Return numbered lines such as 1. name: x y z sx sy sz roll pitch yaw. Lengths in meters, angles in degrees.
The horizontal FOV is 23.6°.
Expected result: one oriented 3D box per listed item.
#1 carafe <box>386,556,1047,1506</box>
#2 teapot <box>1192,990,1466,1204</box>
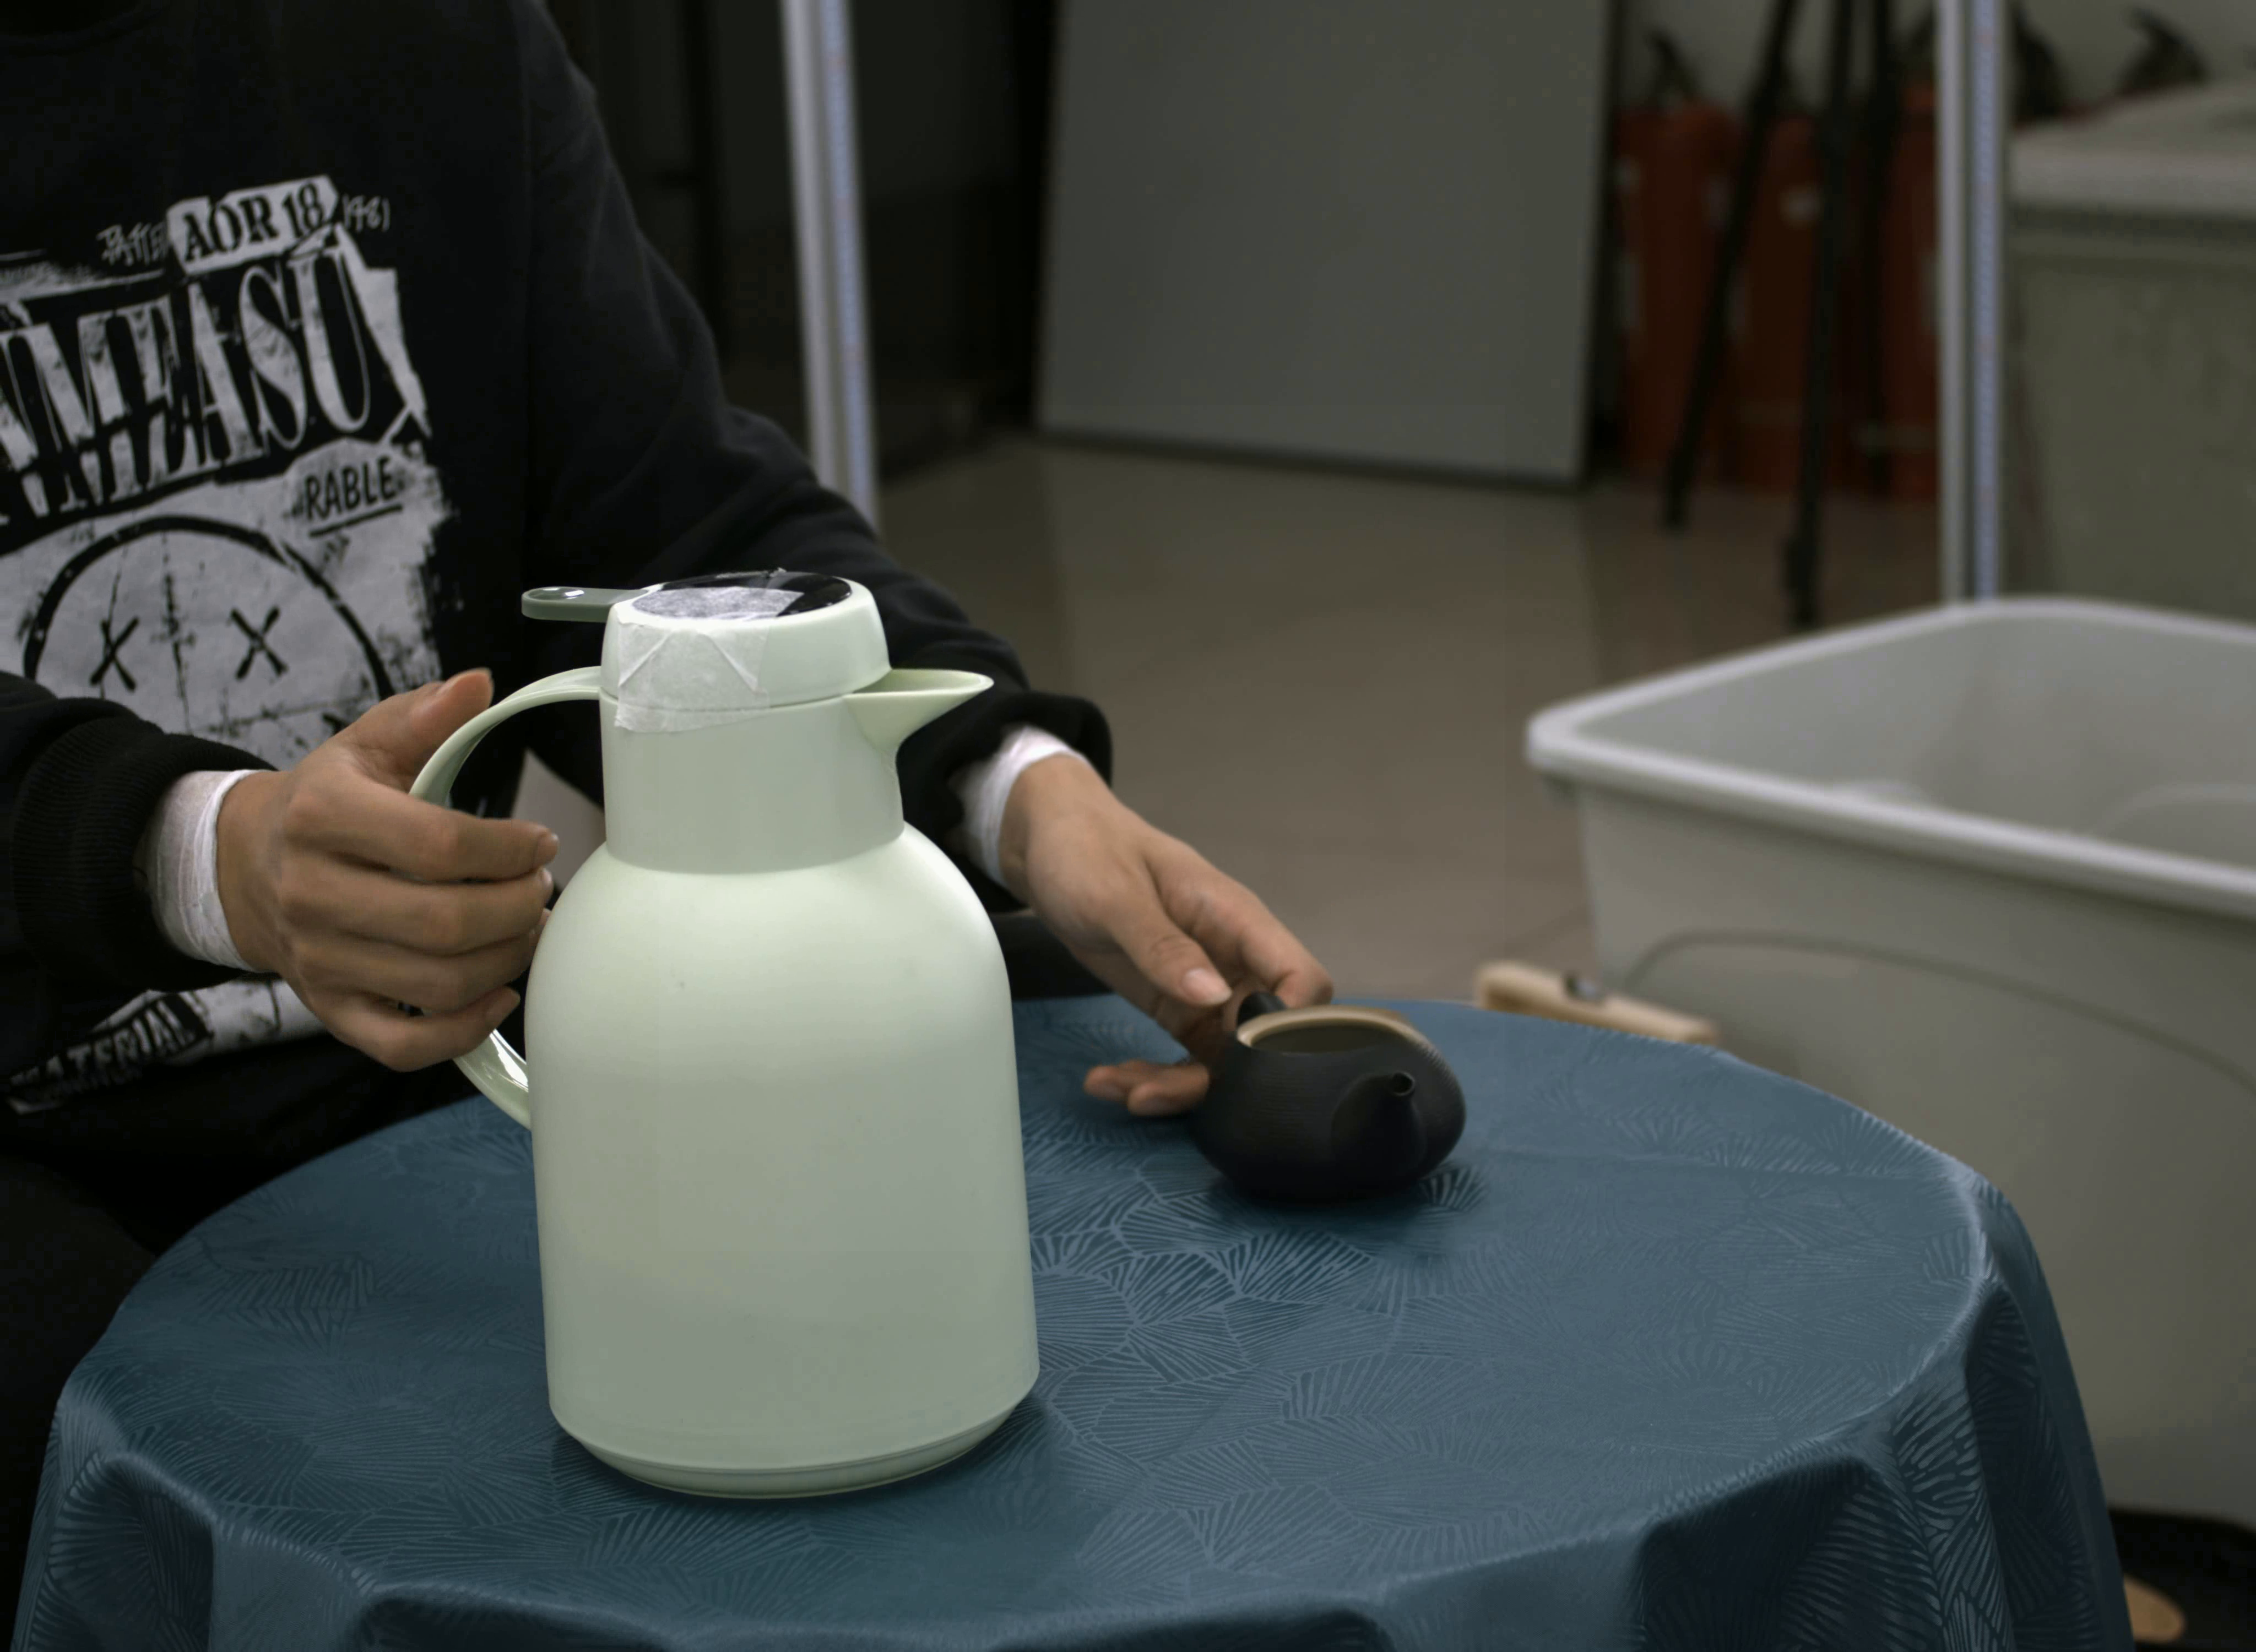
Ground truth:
1. carafe: -0.117 0.054 1.557 0.186 0.259 0.143 -3 14 18
2. teapot: 0.065 0.091 1.764 0.089 0.053 0.134 -7 15 -19
